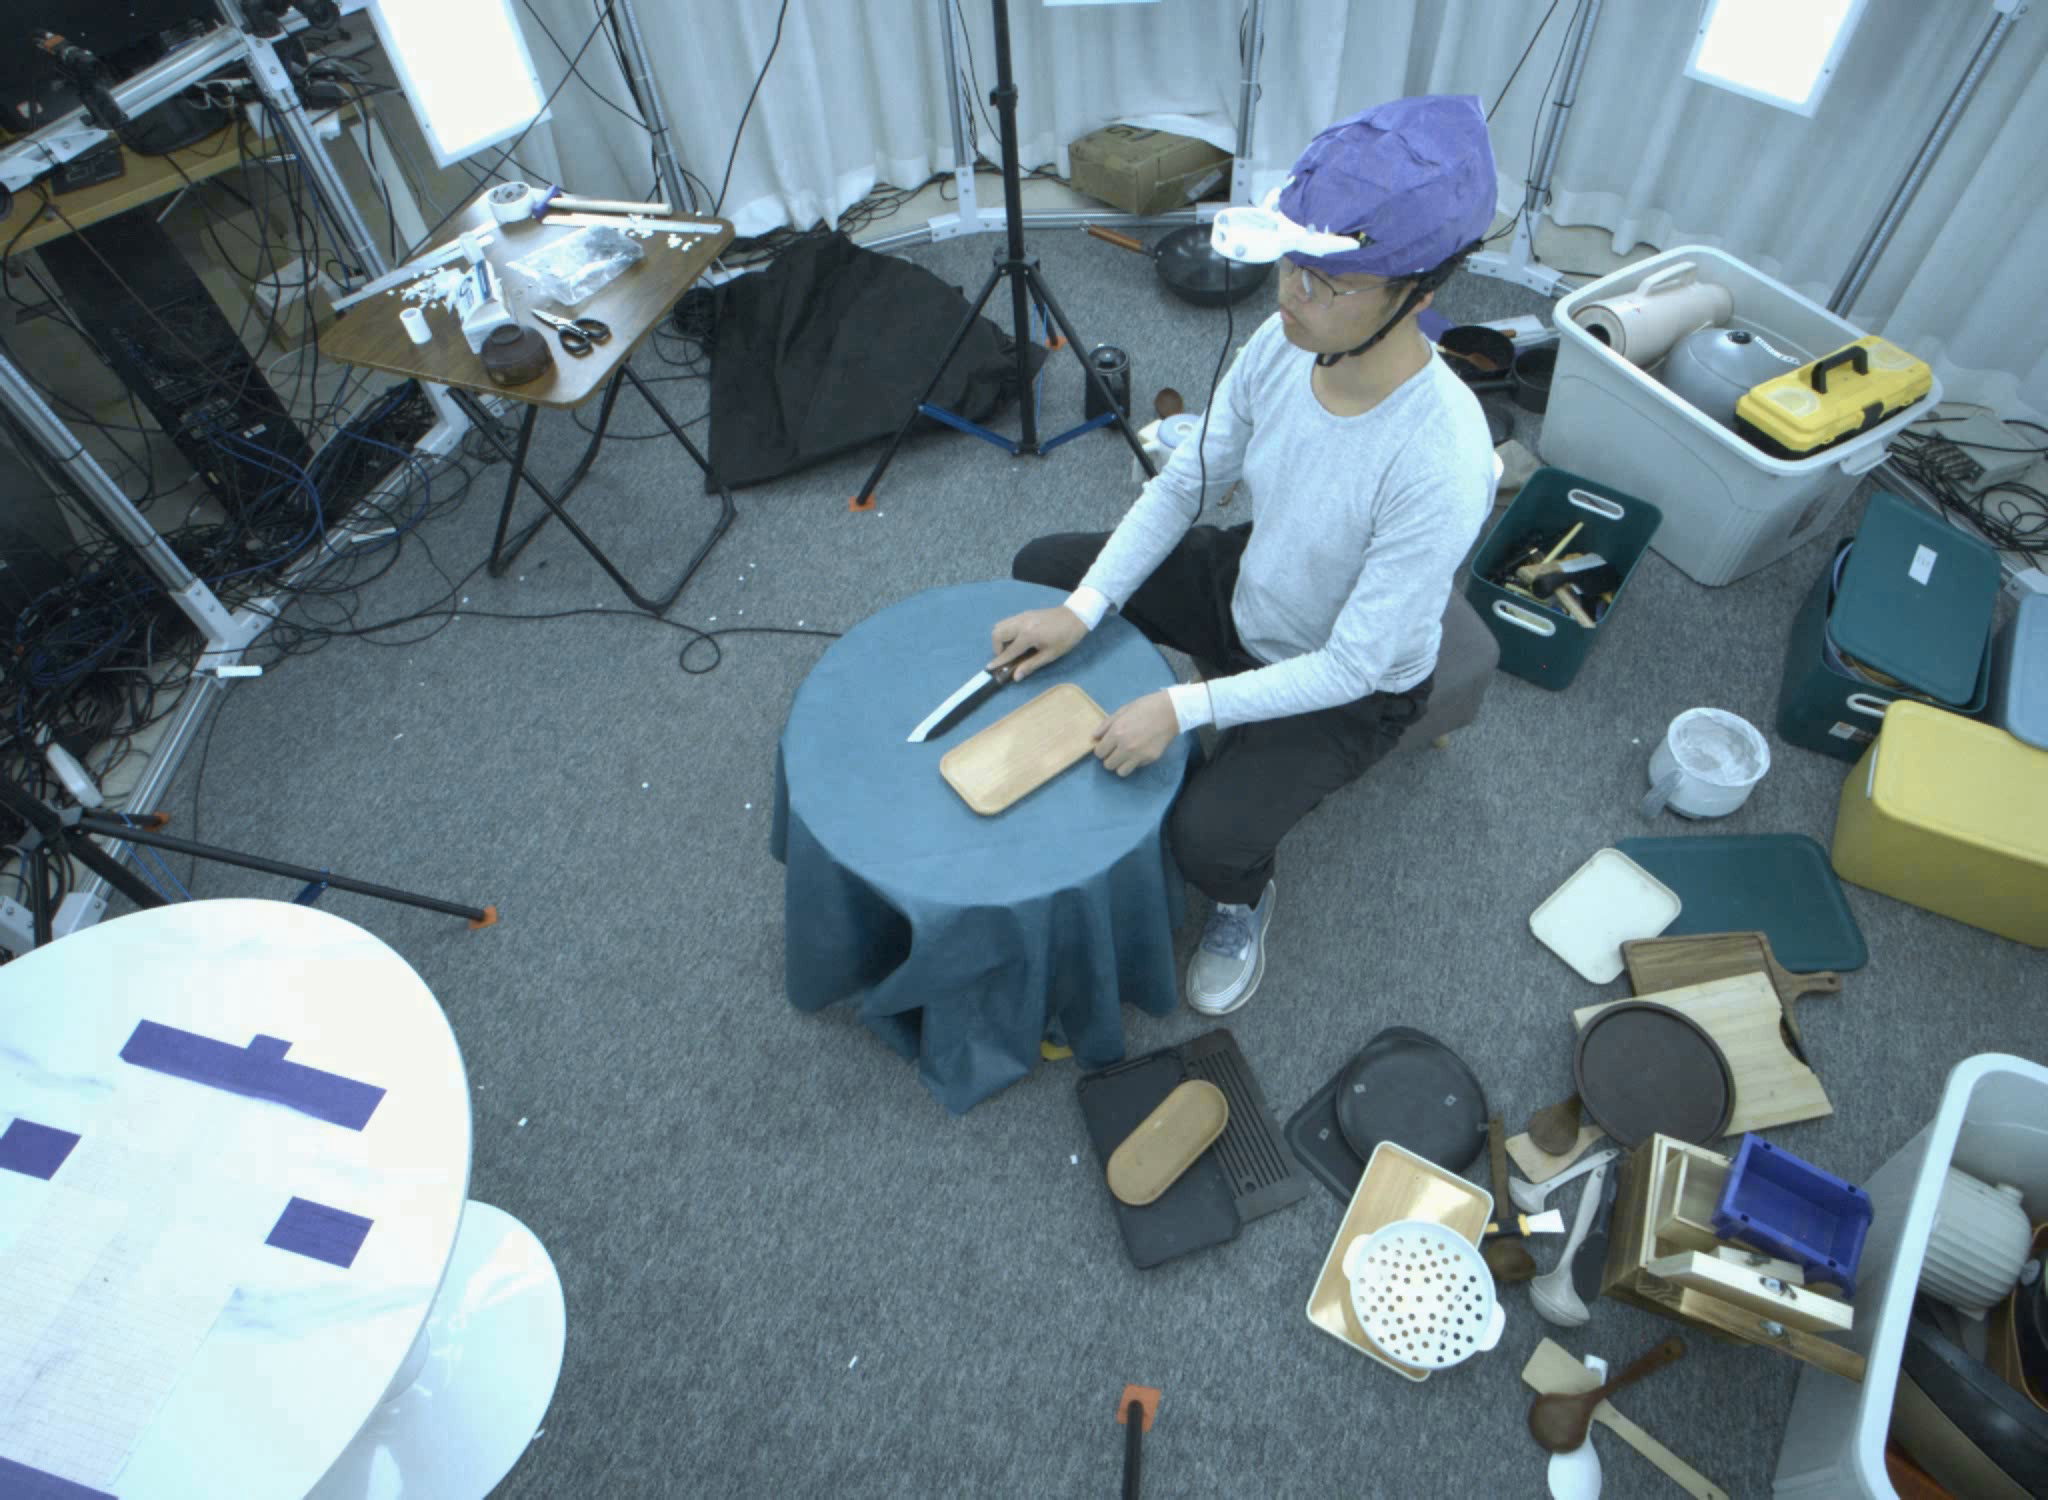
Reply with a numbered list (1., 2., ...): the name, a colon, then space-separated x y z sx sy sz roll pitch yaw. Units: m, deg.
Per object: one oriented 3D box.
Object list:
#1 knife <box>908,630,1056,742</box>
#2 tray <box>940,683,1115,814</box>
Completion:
1. knife: -0.062 -0.097 1.857 0.291 0.020 0.049 -38 55 -21
2. tray: 0.006 -0.004 1.788 0.253 0.023 0.128 -31 62 -20
